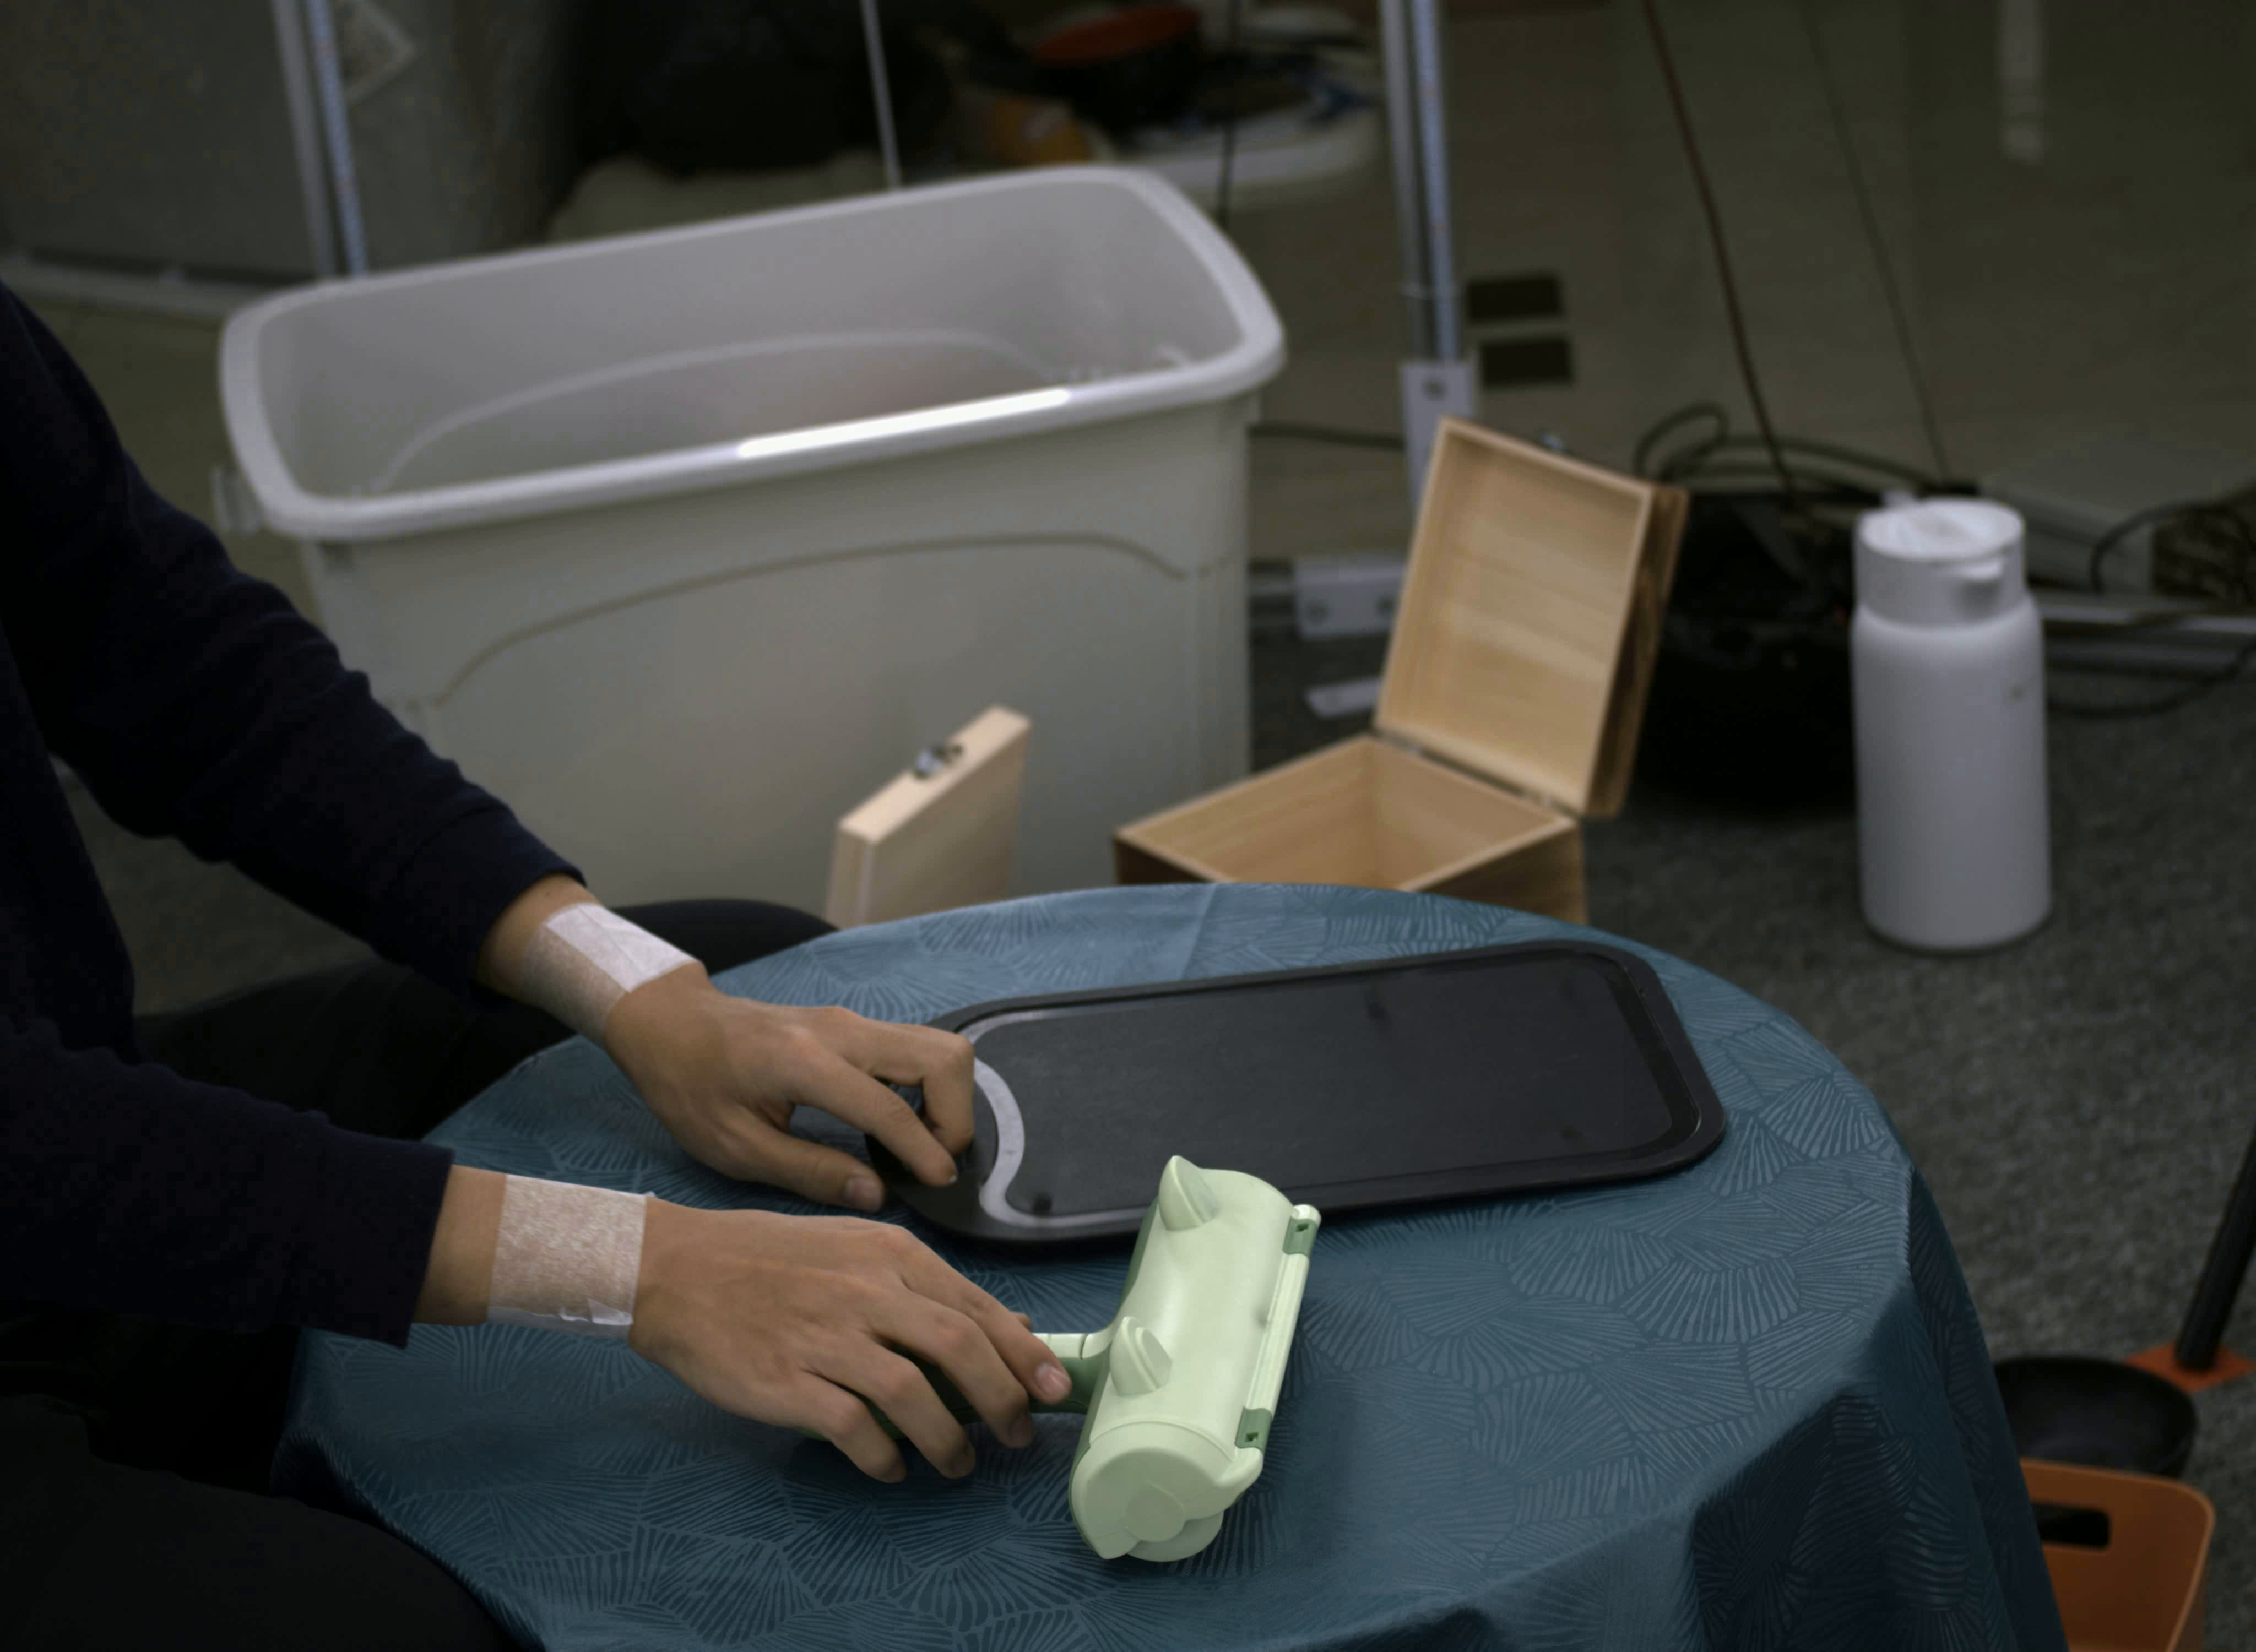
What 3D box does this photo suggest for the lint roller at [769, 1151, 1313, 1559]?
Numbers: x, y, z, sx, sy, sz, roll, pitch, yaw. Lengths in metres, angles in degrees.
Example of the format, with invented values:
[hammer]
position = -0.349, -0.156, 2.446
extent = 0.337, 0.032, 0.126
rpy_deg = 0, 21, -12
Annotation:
[lint roller]
position = -0.036, 0.174, 1.977
extent = 0.183, 0.083, 0.196
rpy_deg = 4, 25, 7

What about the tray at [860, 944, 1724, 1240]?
[tray]
position = 0.058, 0.100, 2.193
extent = 0.325, 0.010, 0.208
rpy_deg = -6, 24, -4
